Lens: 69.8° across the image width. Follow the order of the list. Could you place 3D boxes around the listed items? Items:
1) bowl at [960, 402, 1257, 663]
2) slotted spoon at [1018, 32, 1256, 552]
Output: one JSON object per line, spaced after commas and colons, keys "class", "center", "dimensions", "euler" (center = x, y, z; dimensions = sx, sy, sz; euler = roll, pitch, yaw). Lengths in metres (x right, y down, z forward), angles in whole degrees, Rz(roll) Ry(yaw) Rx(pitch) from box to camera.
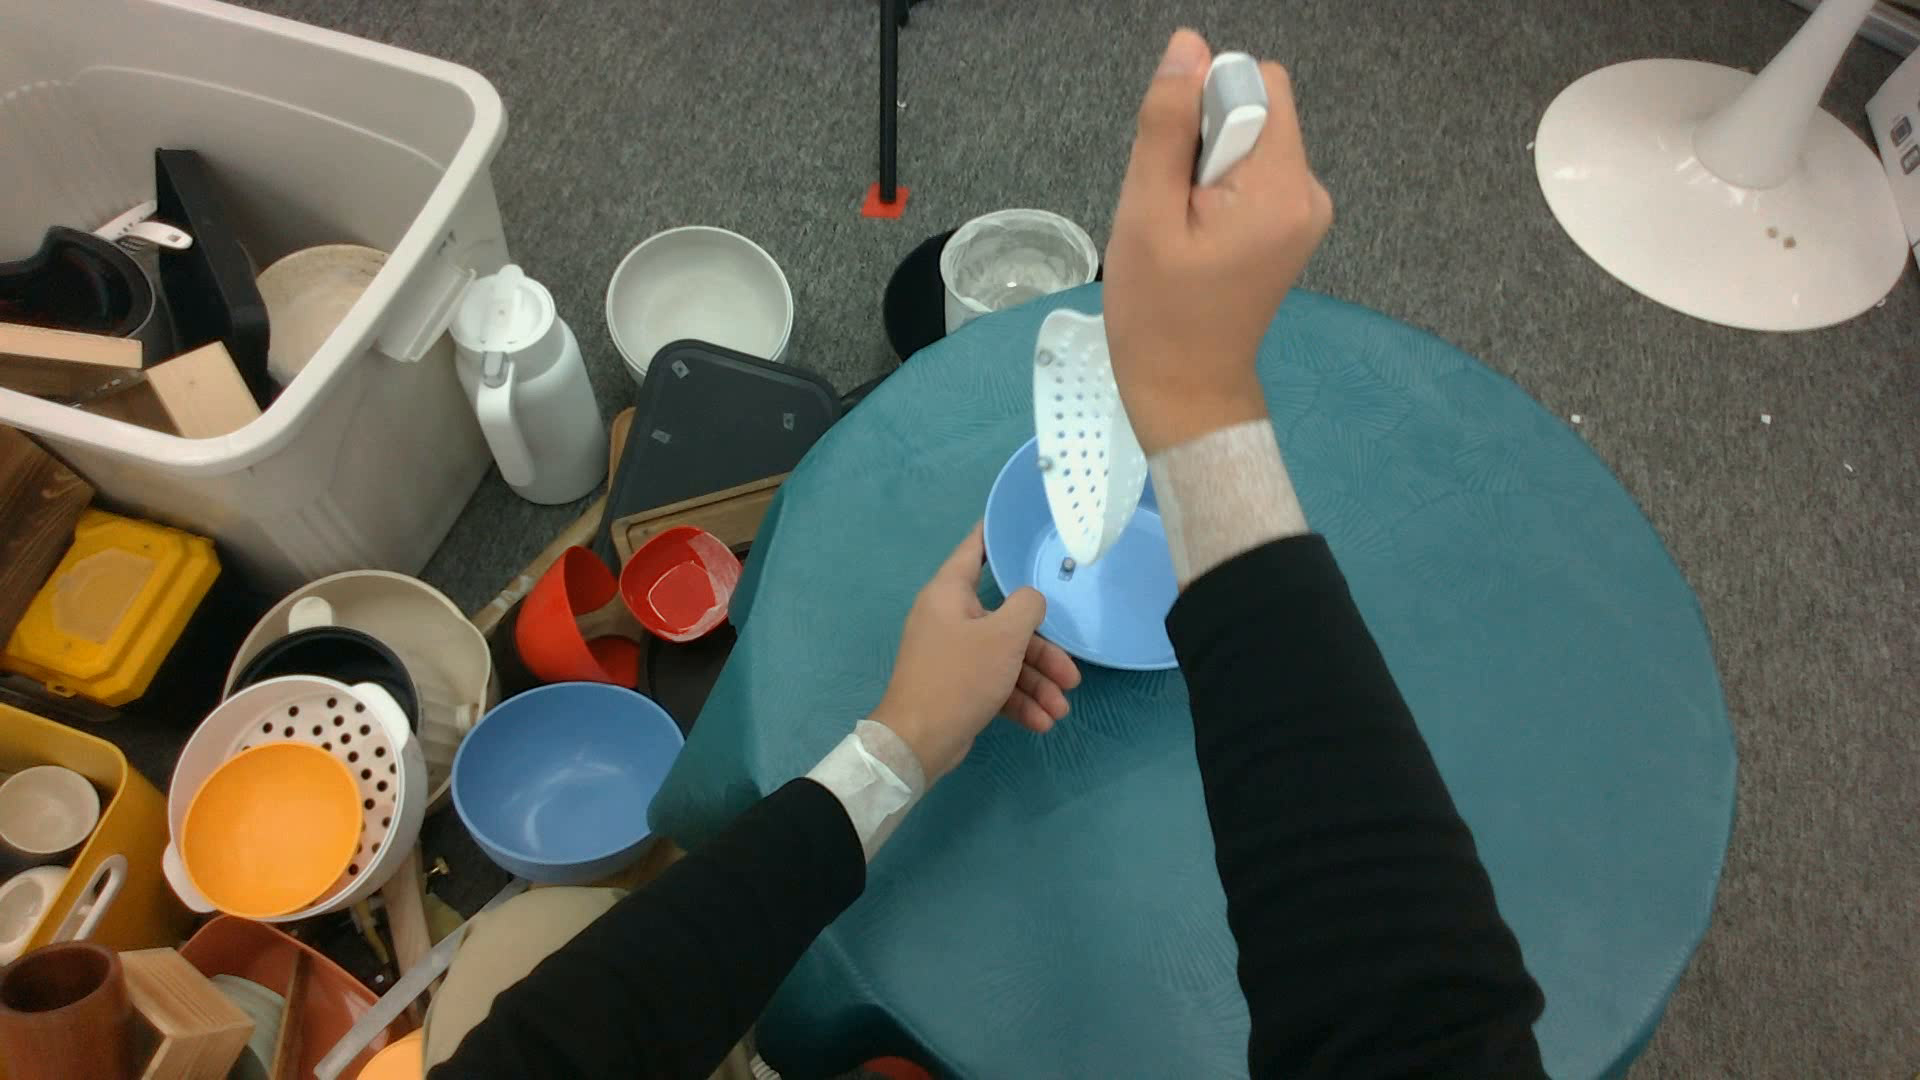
{"class": "bowl", "center": [0.086, 0.006, 0.834], "dimensions": [0.176, 0.070, 0.177], "euler": [2, 61, -3]}
{"class": "slotted spoon", "center": [0.069, -0.101, 0.625], "dimensions": [0.046, 0.348, 0.136], "euler": [-7, 70, -6]}
